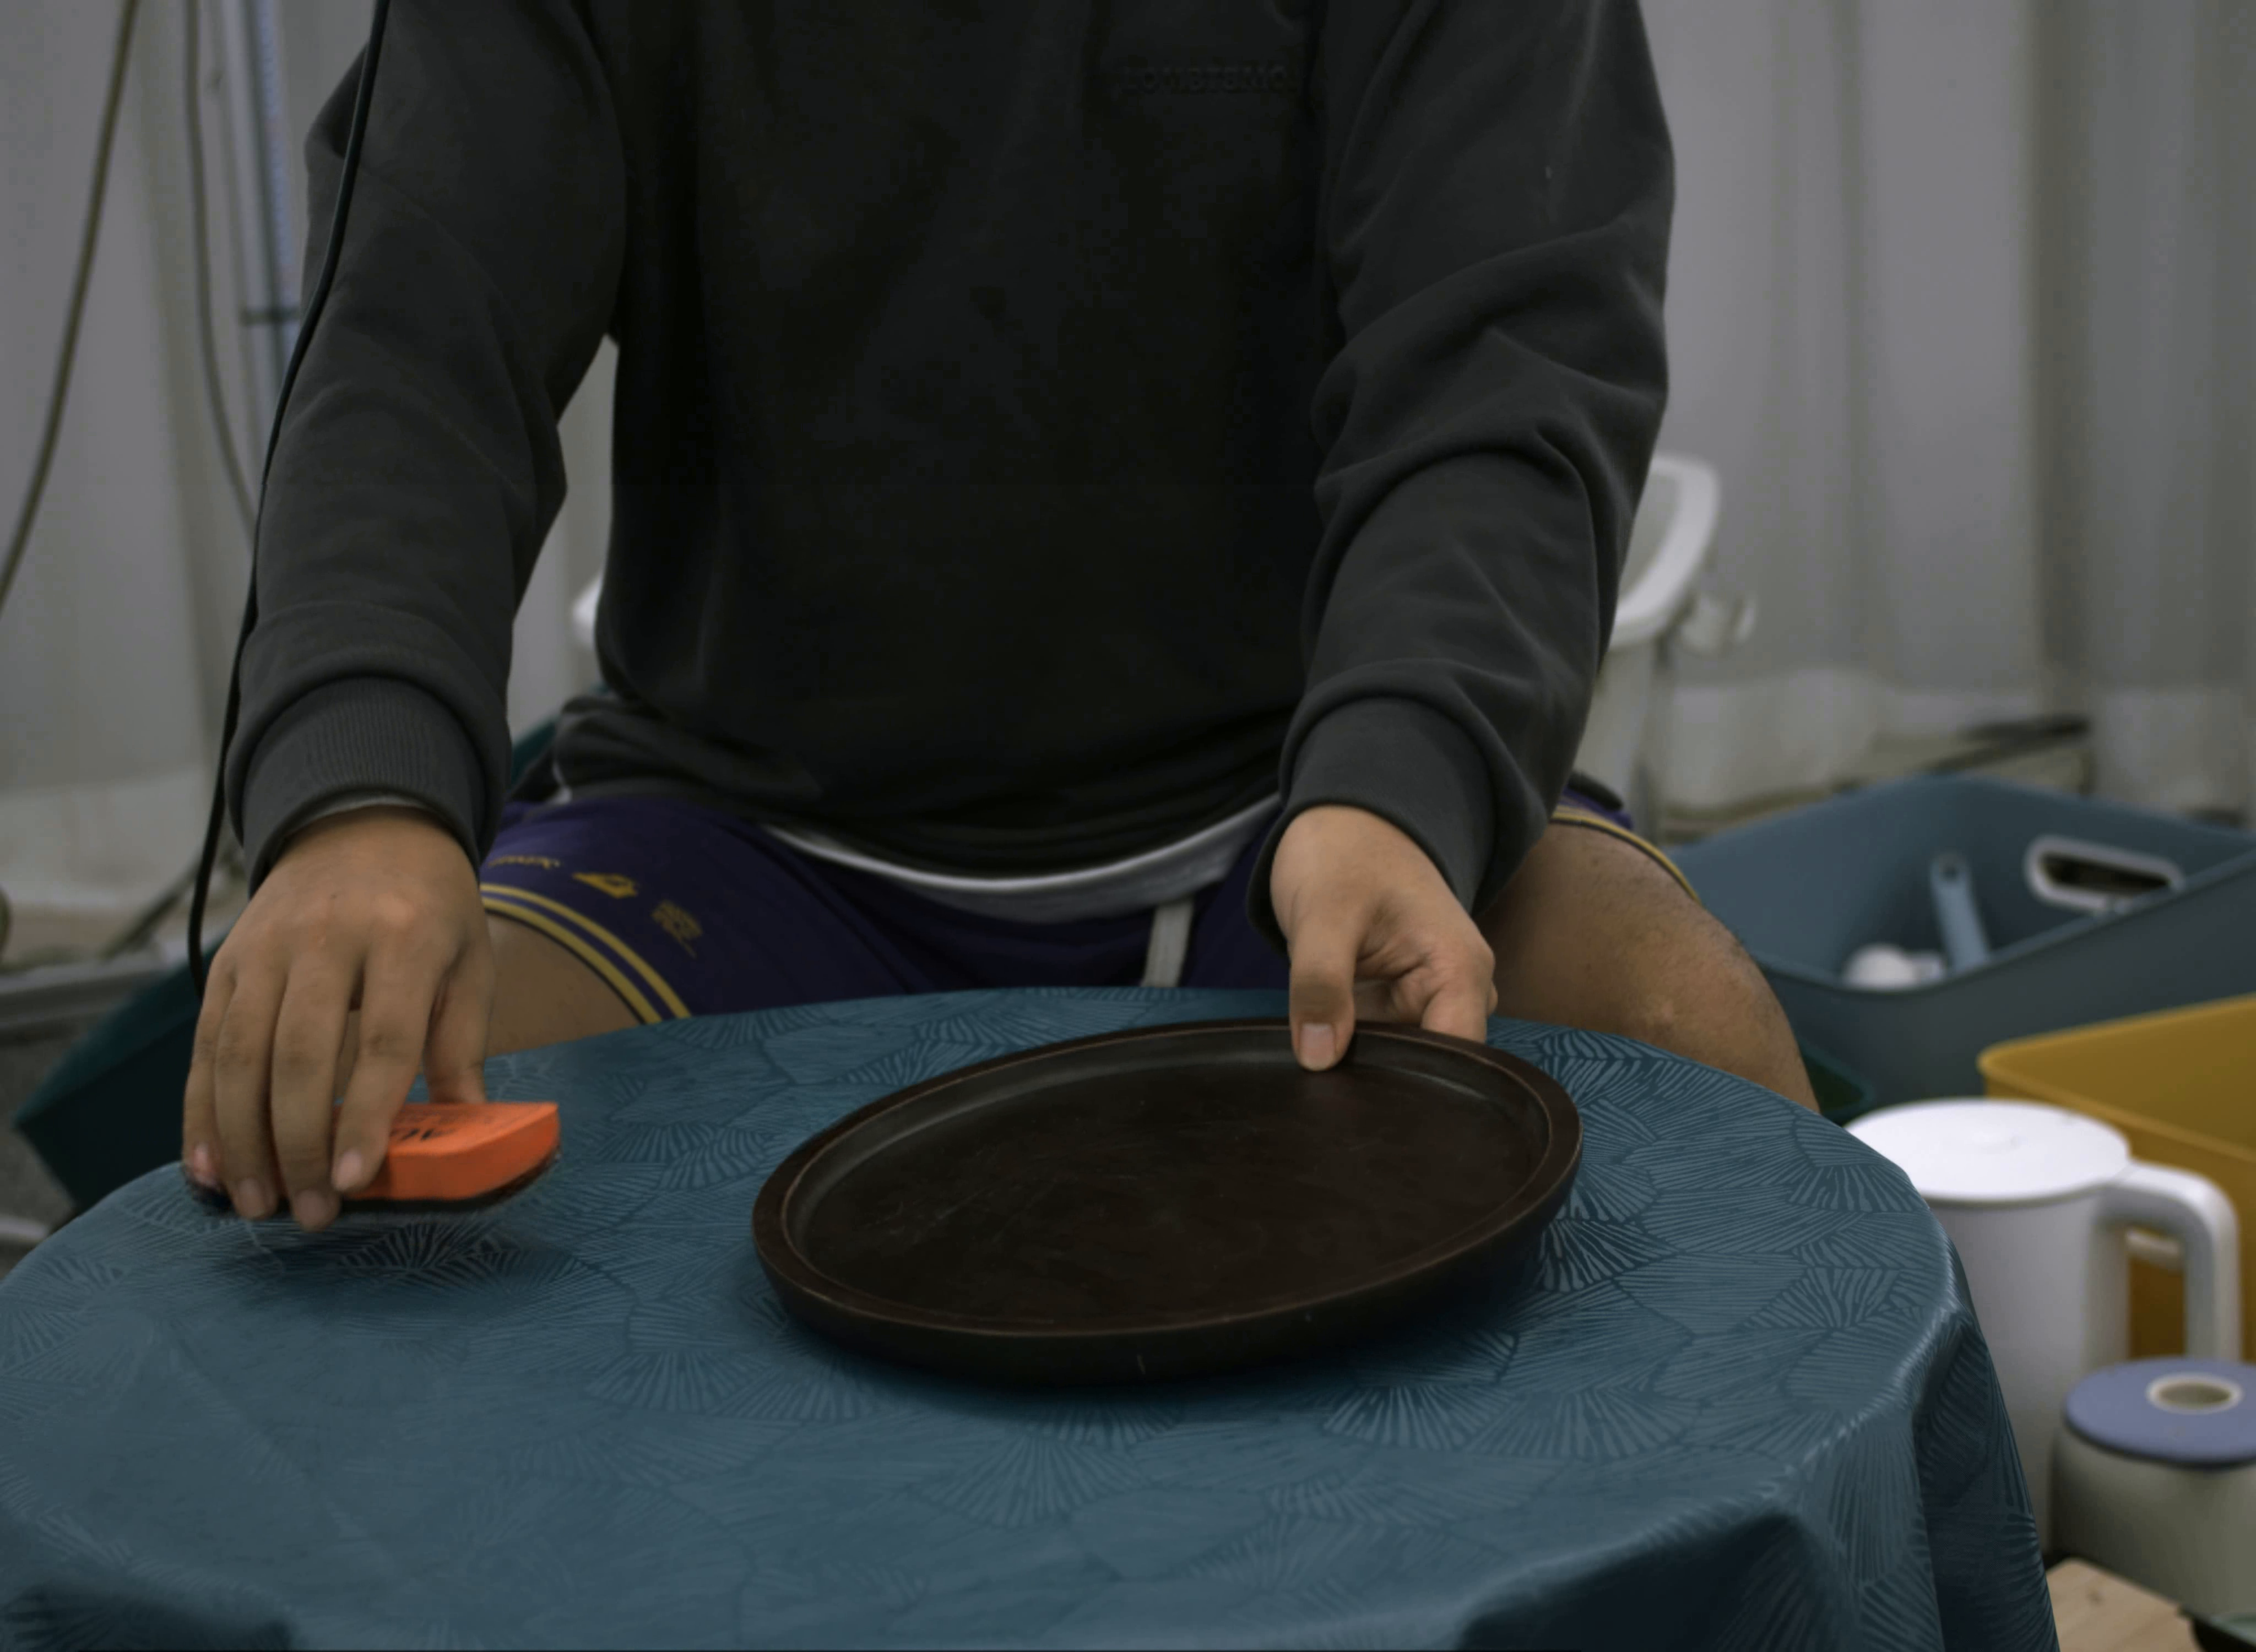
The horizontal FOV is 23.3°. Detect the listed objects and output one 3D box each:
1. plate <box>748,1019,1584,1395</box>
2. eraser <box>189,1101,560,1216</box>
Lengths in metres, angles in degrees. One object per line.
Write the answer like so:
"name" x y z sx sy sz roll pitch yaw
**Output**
"plate" 0.012 0.112 1.647 0.254 0.029 0.257 -8 17 2
"eraser" -0.233 0.103 1.692 0.108 0.023 0.059 -2 10 29
